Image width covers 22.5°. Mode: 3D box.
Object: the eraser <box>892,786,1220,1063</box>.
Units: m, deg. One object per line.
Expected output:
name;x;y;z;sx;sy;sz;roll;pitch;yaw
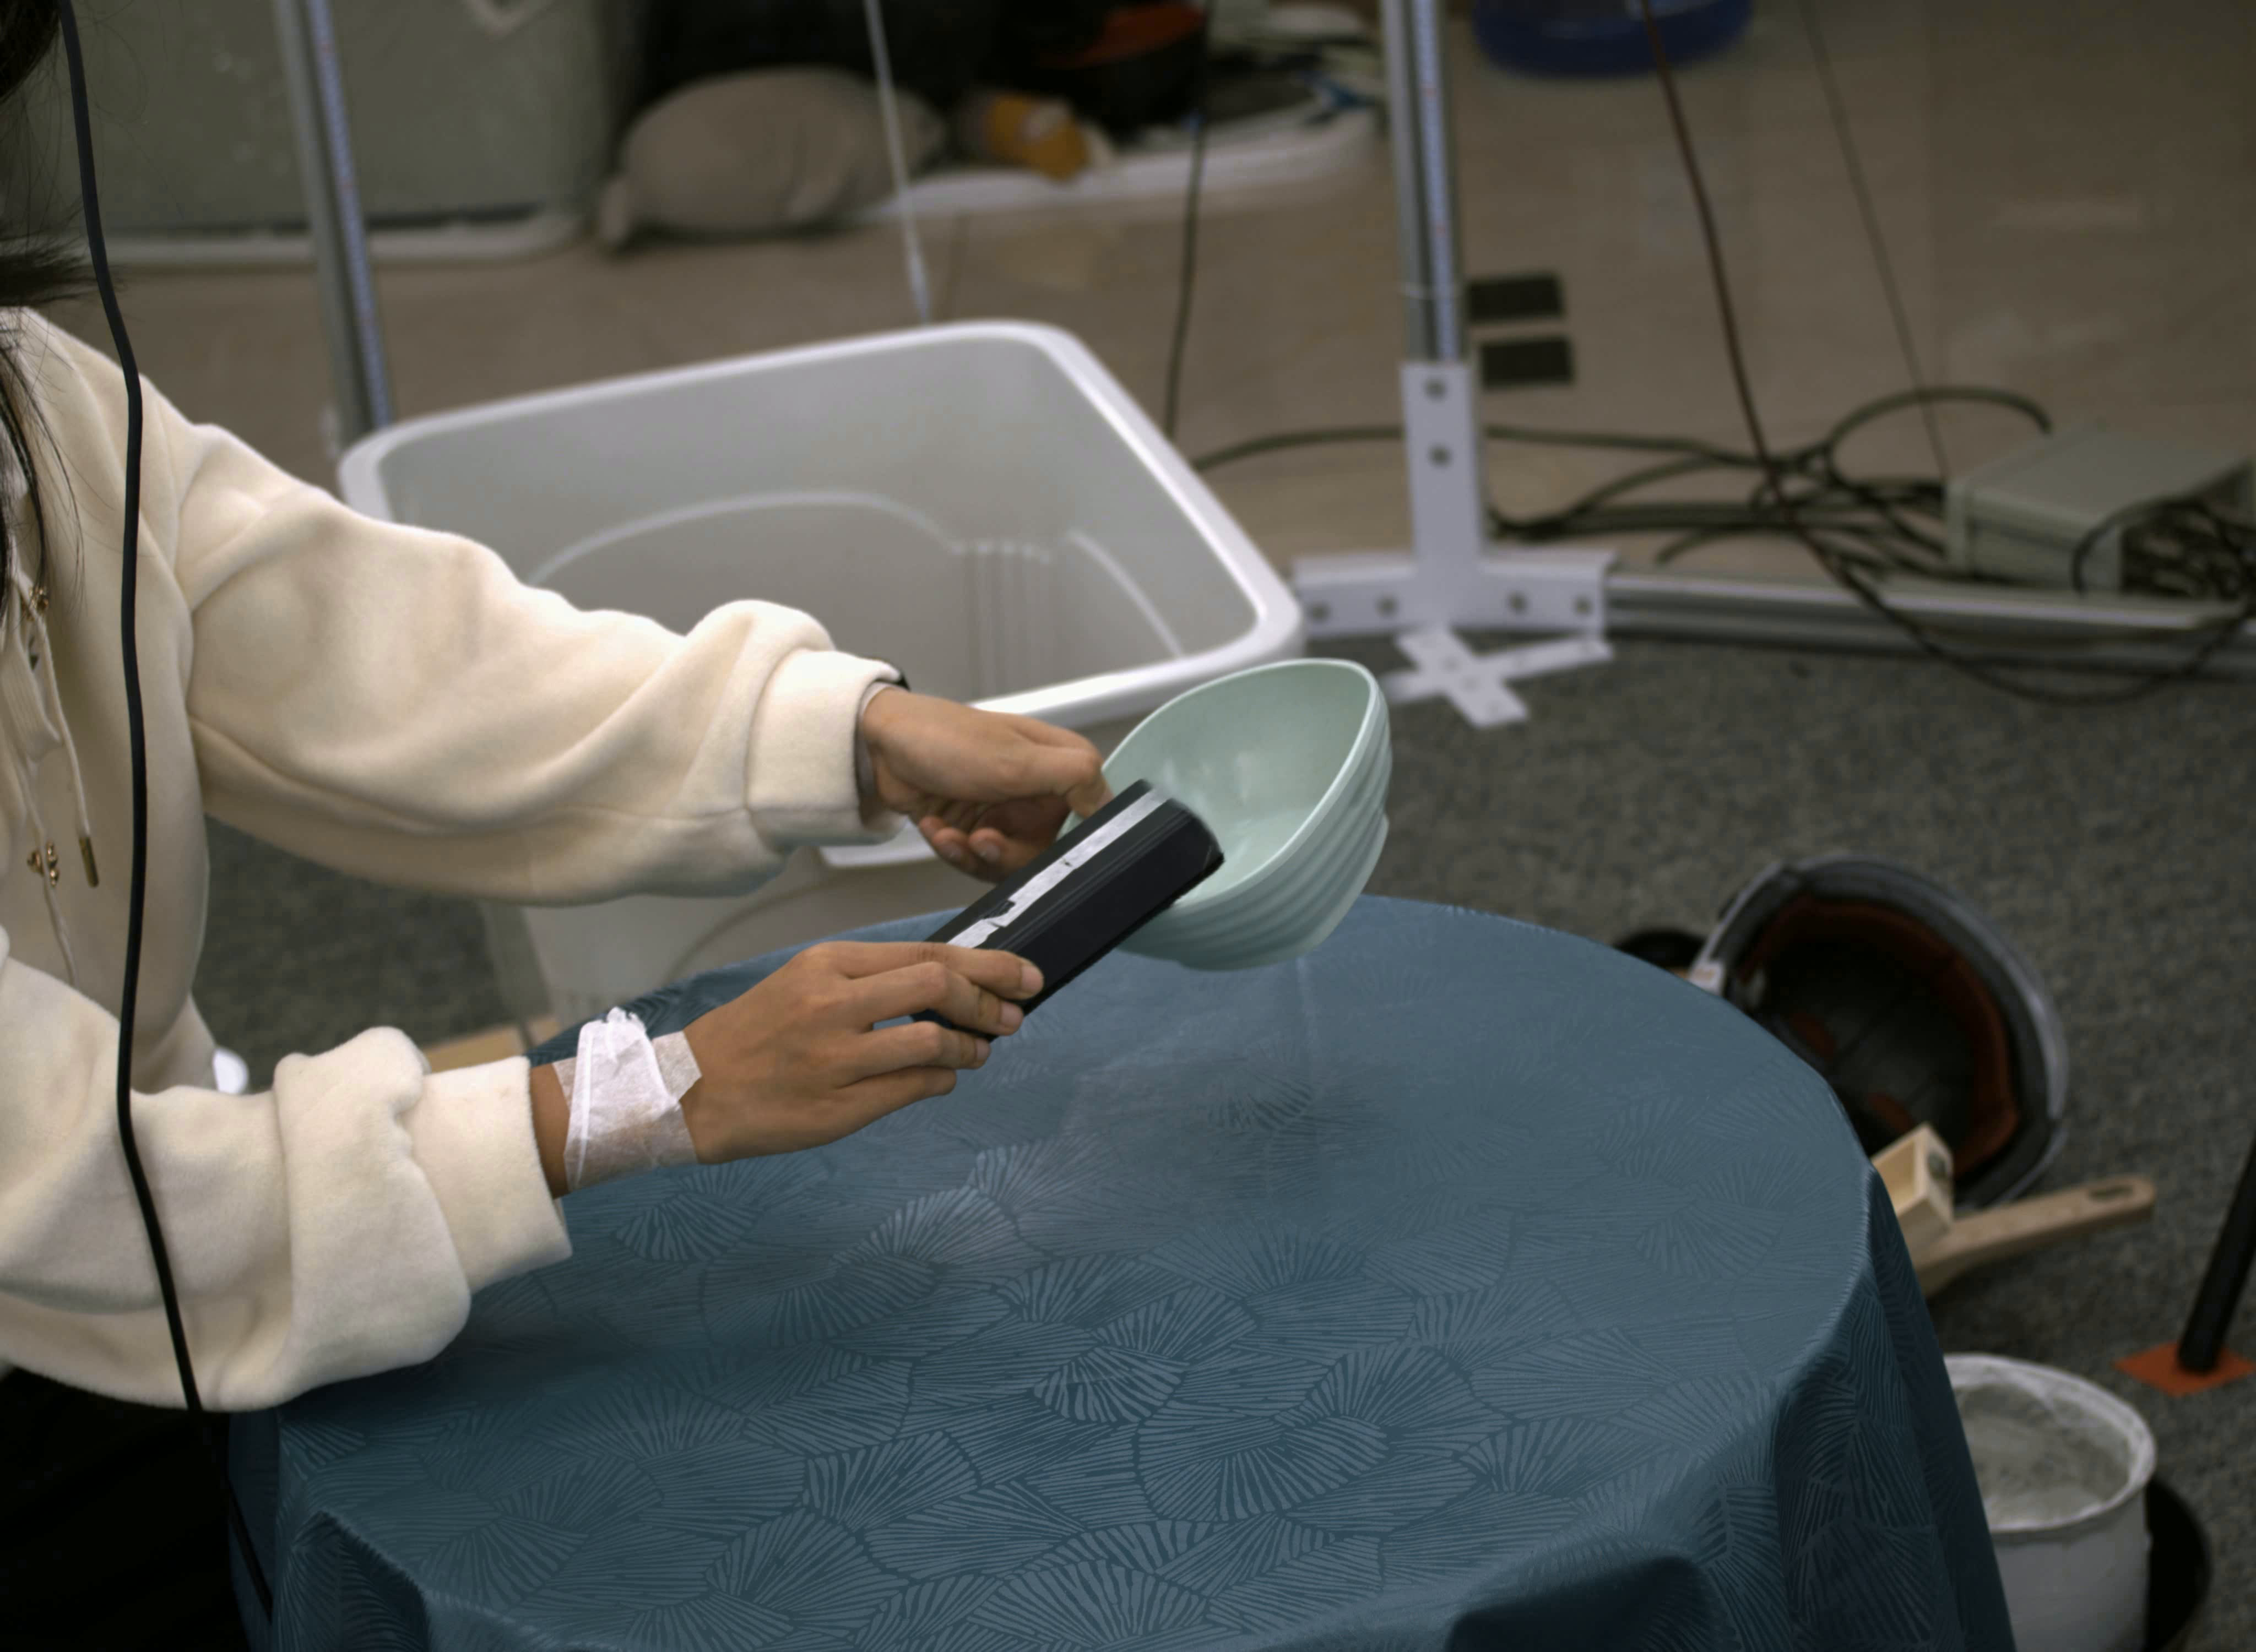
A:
eraser;-0.026;0.035;2.096;0.125;0.031;0.053;-40;26;-12

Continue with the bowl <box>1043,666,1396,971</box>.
bowl;0.045;0.006;2.153;0.152;0.059;0.149;-26;29;16
